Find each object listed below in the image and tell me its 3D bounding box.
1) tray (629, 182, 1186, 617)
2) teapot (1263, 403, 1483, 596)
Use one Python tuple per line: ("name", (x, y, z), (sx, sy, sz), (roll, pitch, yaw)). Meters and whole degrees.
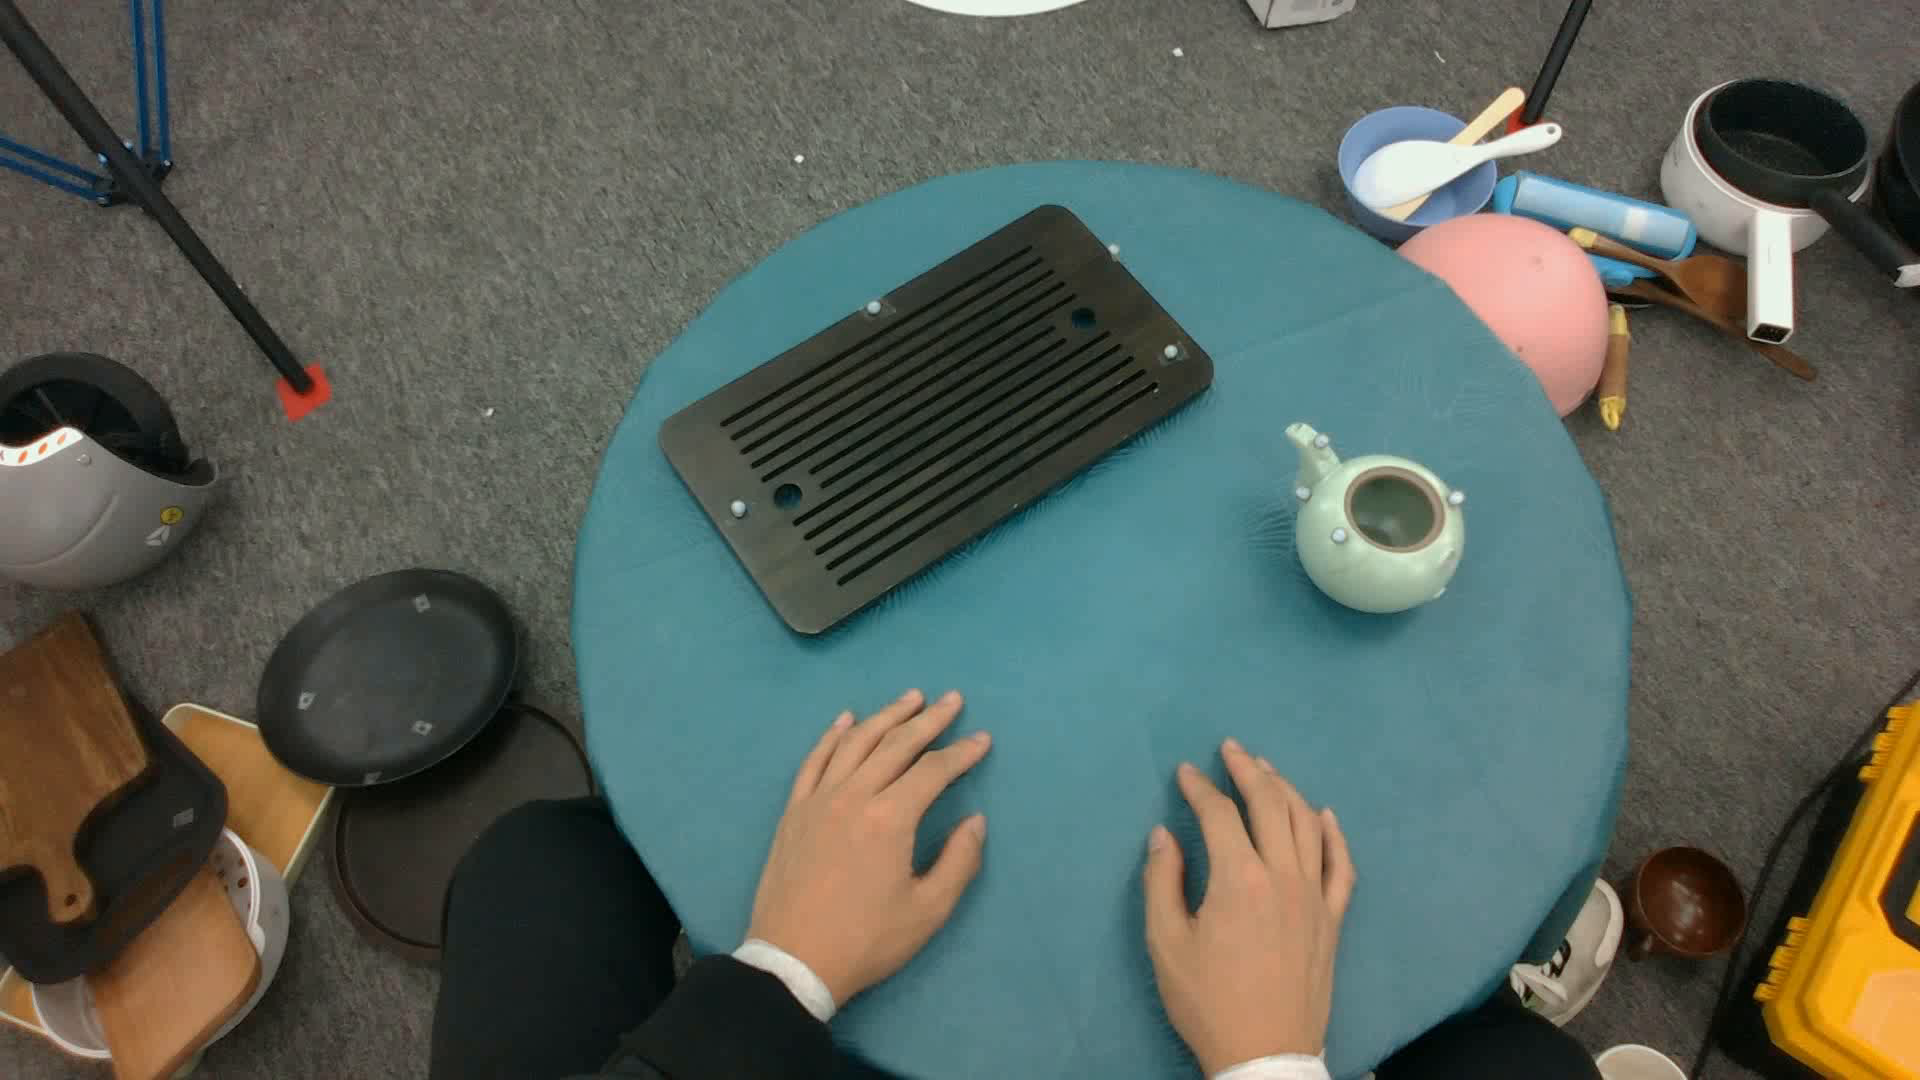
("tray", (-0.029, -0.093, 0.827), (0.307, 0.018, 0.170), (-33, 68, -16))
("teapot", (0.219, -0.015, 0.761), (0.088, 0.074, 0.144), (-40, 69, -19))
